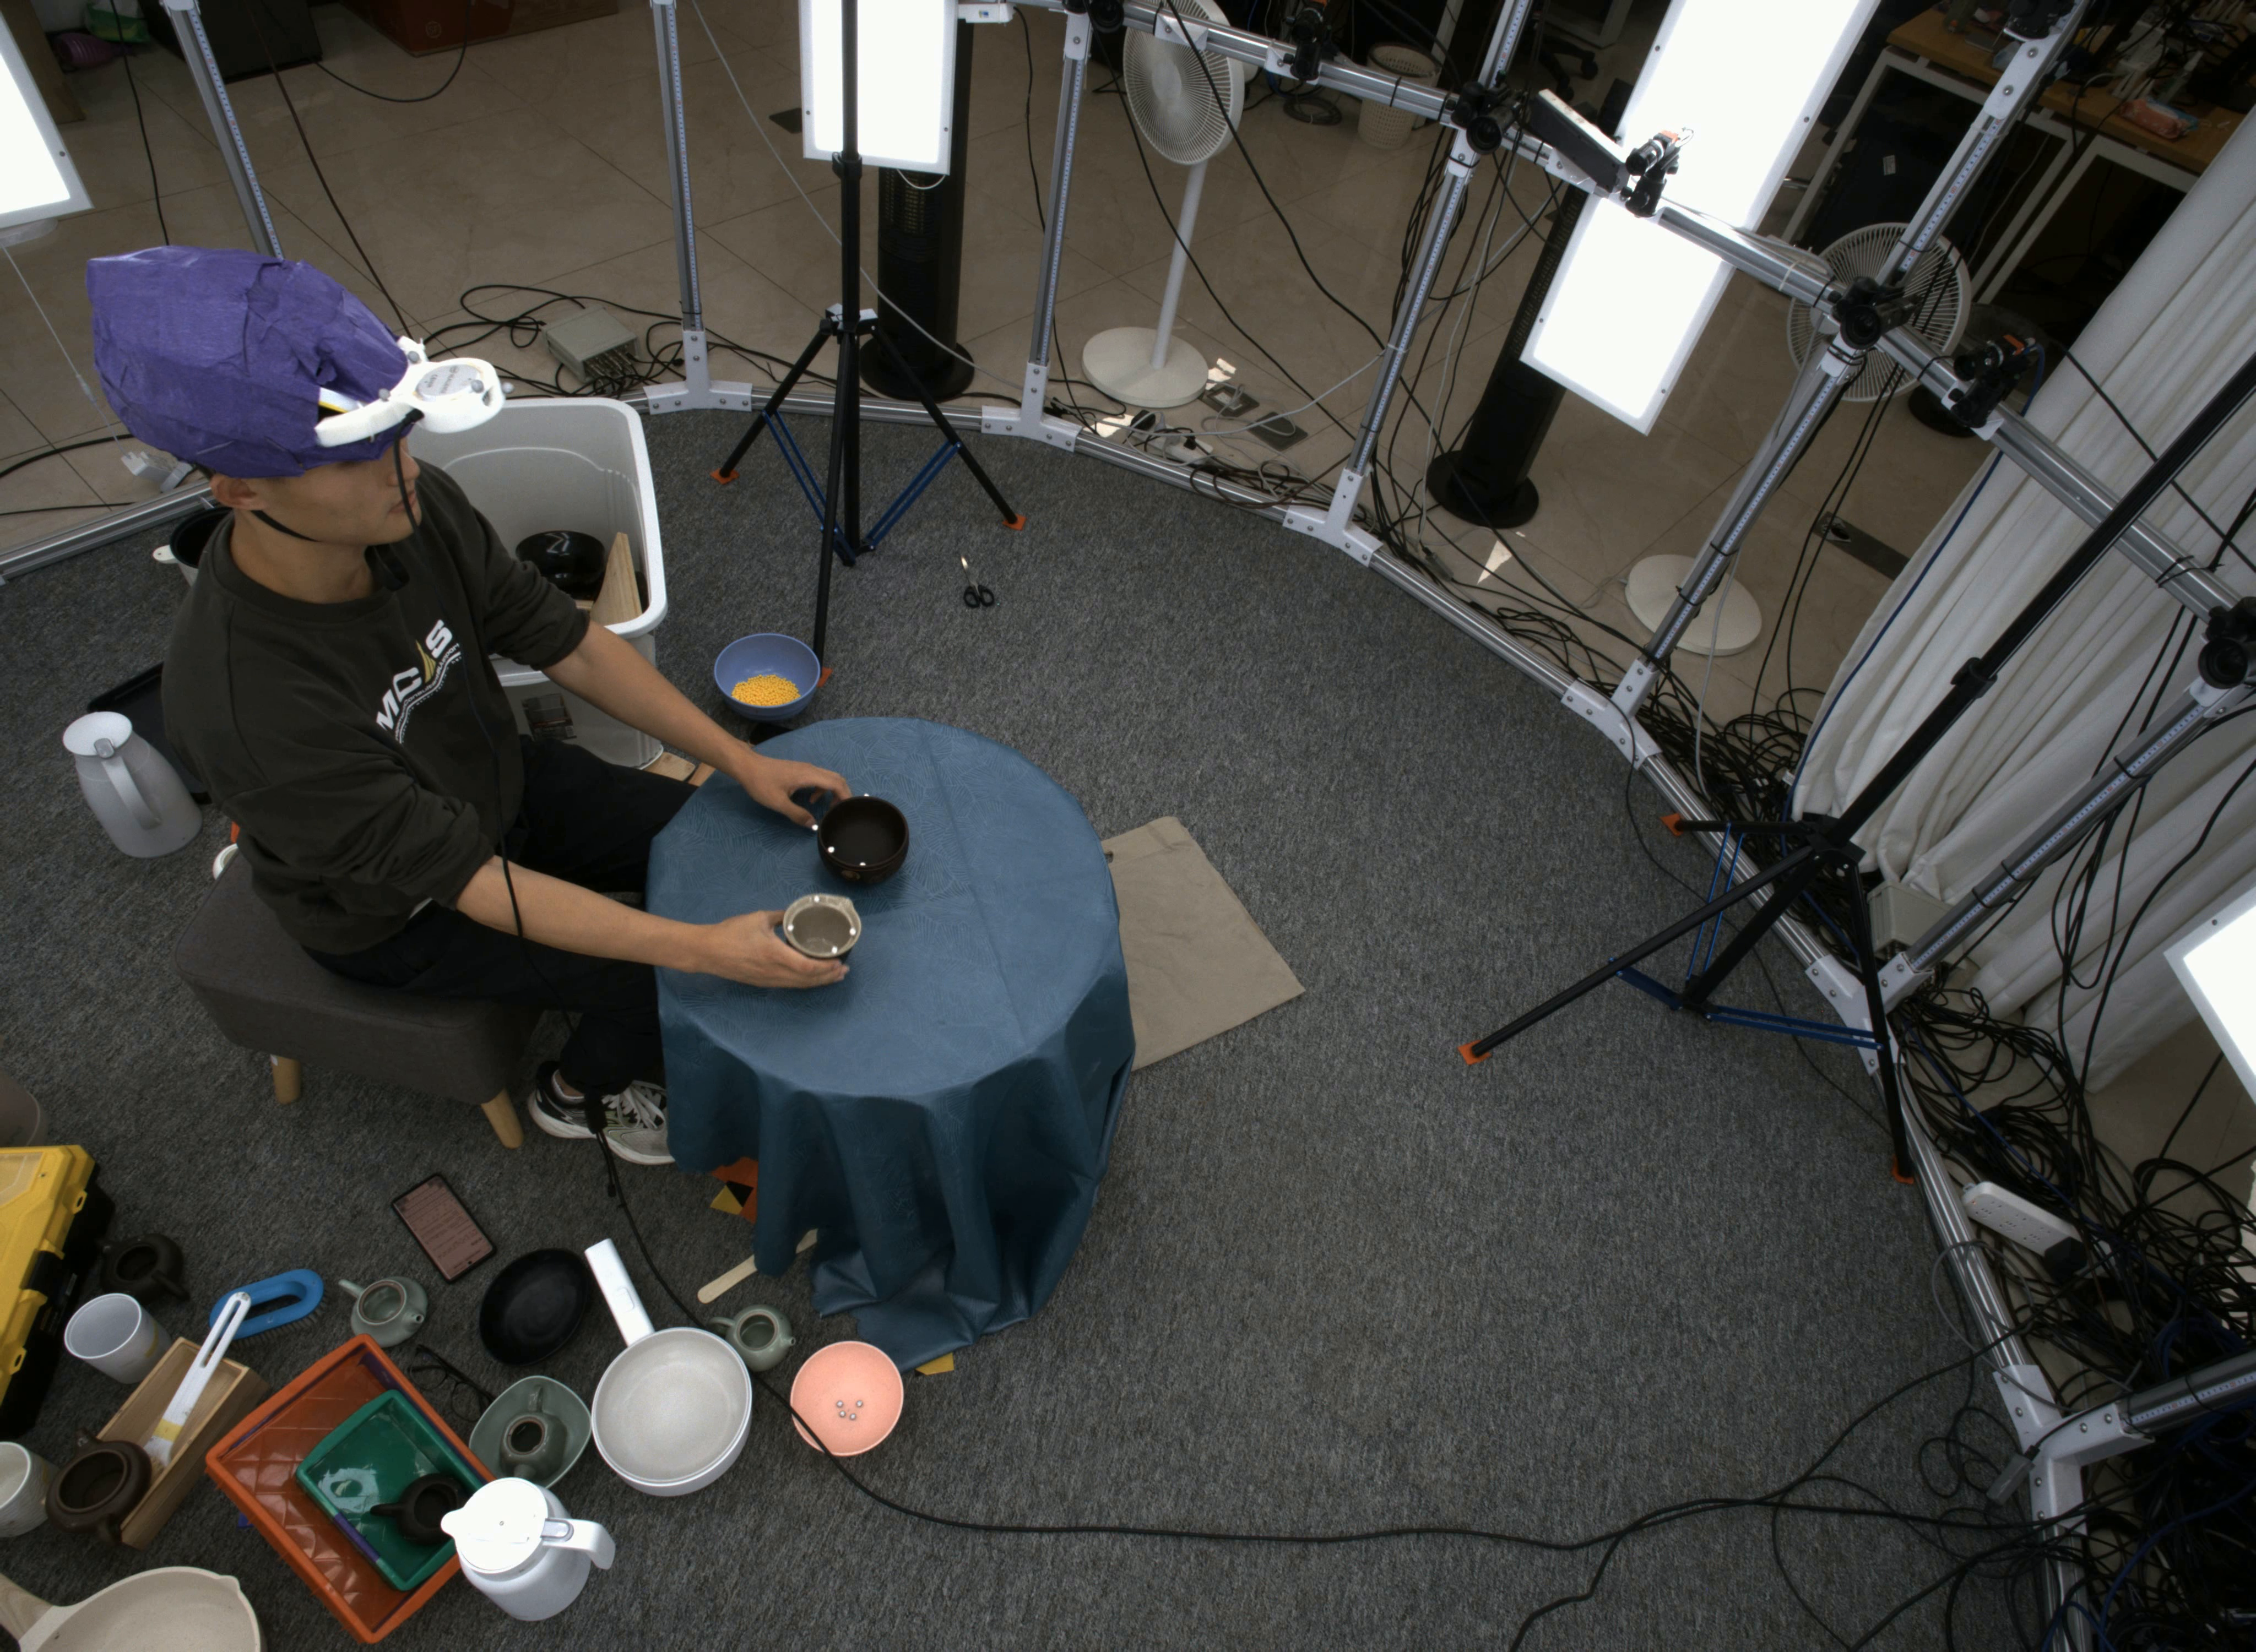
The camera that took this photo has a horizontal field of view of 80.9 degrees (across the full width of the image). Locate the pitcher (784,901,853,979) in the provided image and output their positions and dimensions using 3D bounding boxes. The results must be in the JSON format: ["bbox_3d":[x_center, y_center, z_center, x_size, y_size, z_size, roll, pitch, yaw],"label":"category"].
[{"bbox_3d":[-0.375,0.140,1.586,0.082,0.073,0.096,34,48,14],"label":"pitcher"}]

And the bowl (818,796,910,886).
[{"bbox_3d":[-0.343,0.026,1.689,0.118,0.071,0.116,8,53,-9],"label":"bowl"}]
